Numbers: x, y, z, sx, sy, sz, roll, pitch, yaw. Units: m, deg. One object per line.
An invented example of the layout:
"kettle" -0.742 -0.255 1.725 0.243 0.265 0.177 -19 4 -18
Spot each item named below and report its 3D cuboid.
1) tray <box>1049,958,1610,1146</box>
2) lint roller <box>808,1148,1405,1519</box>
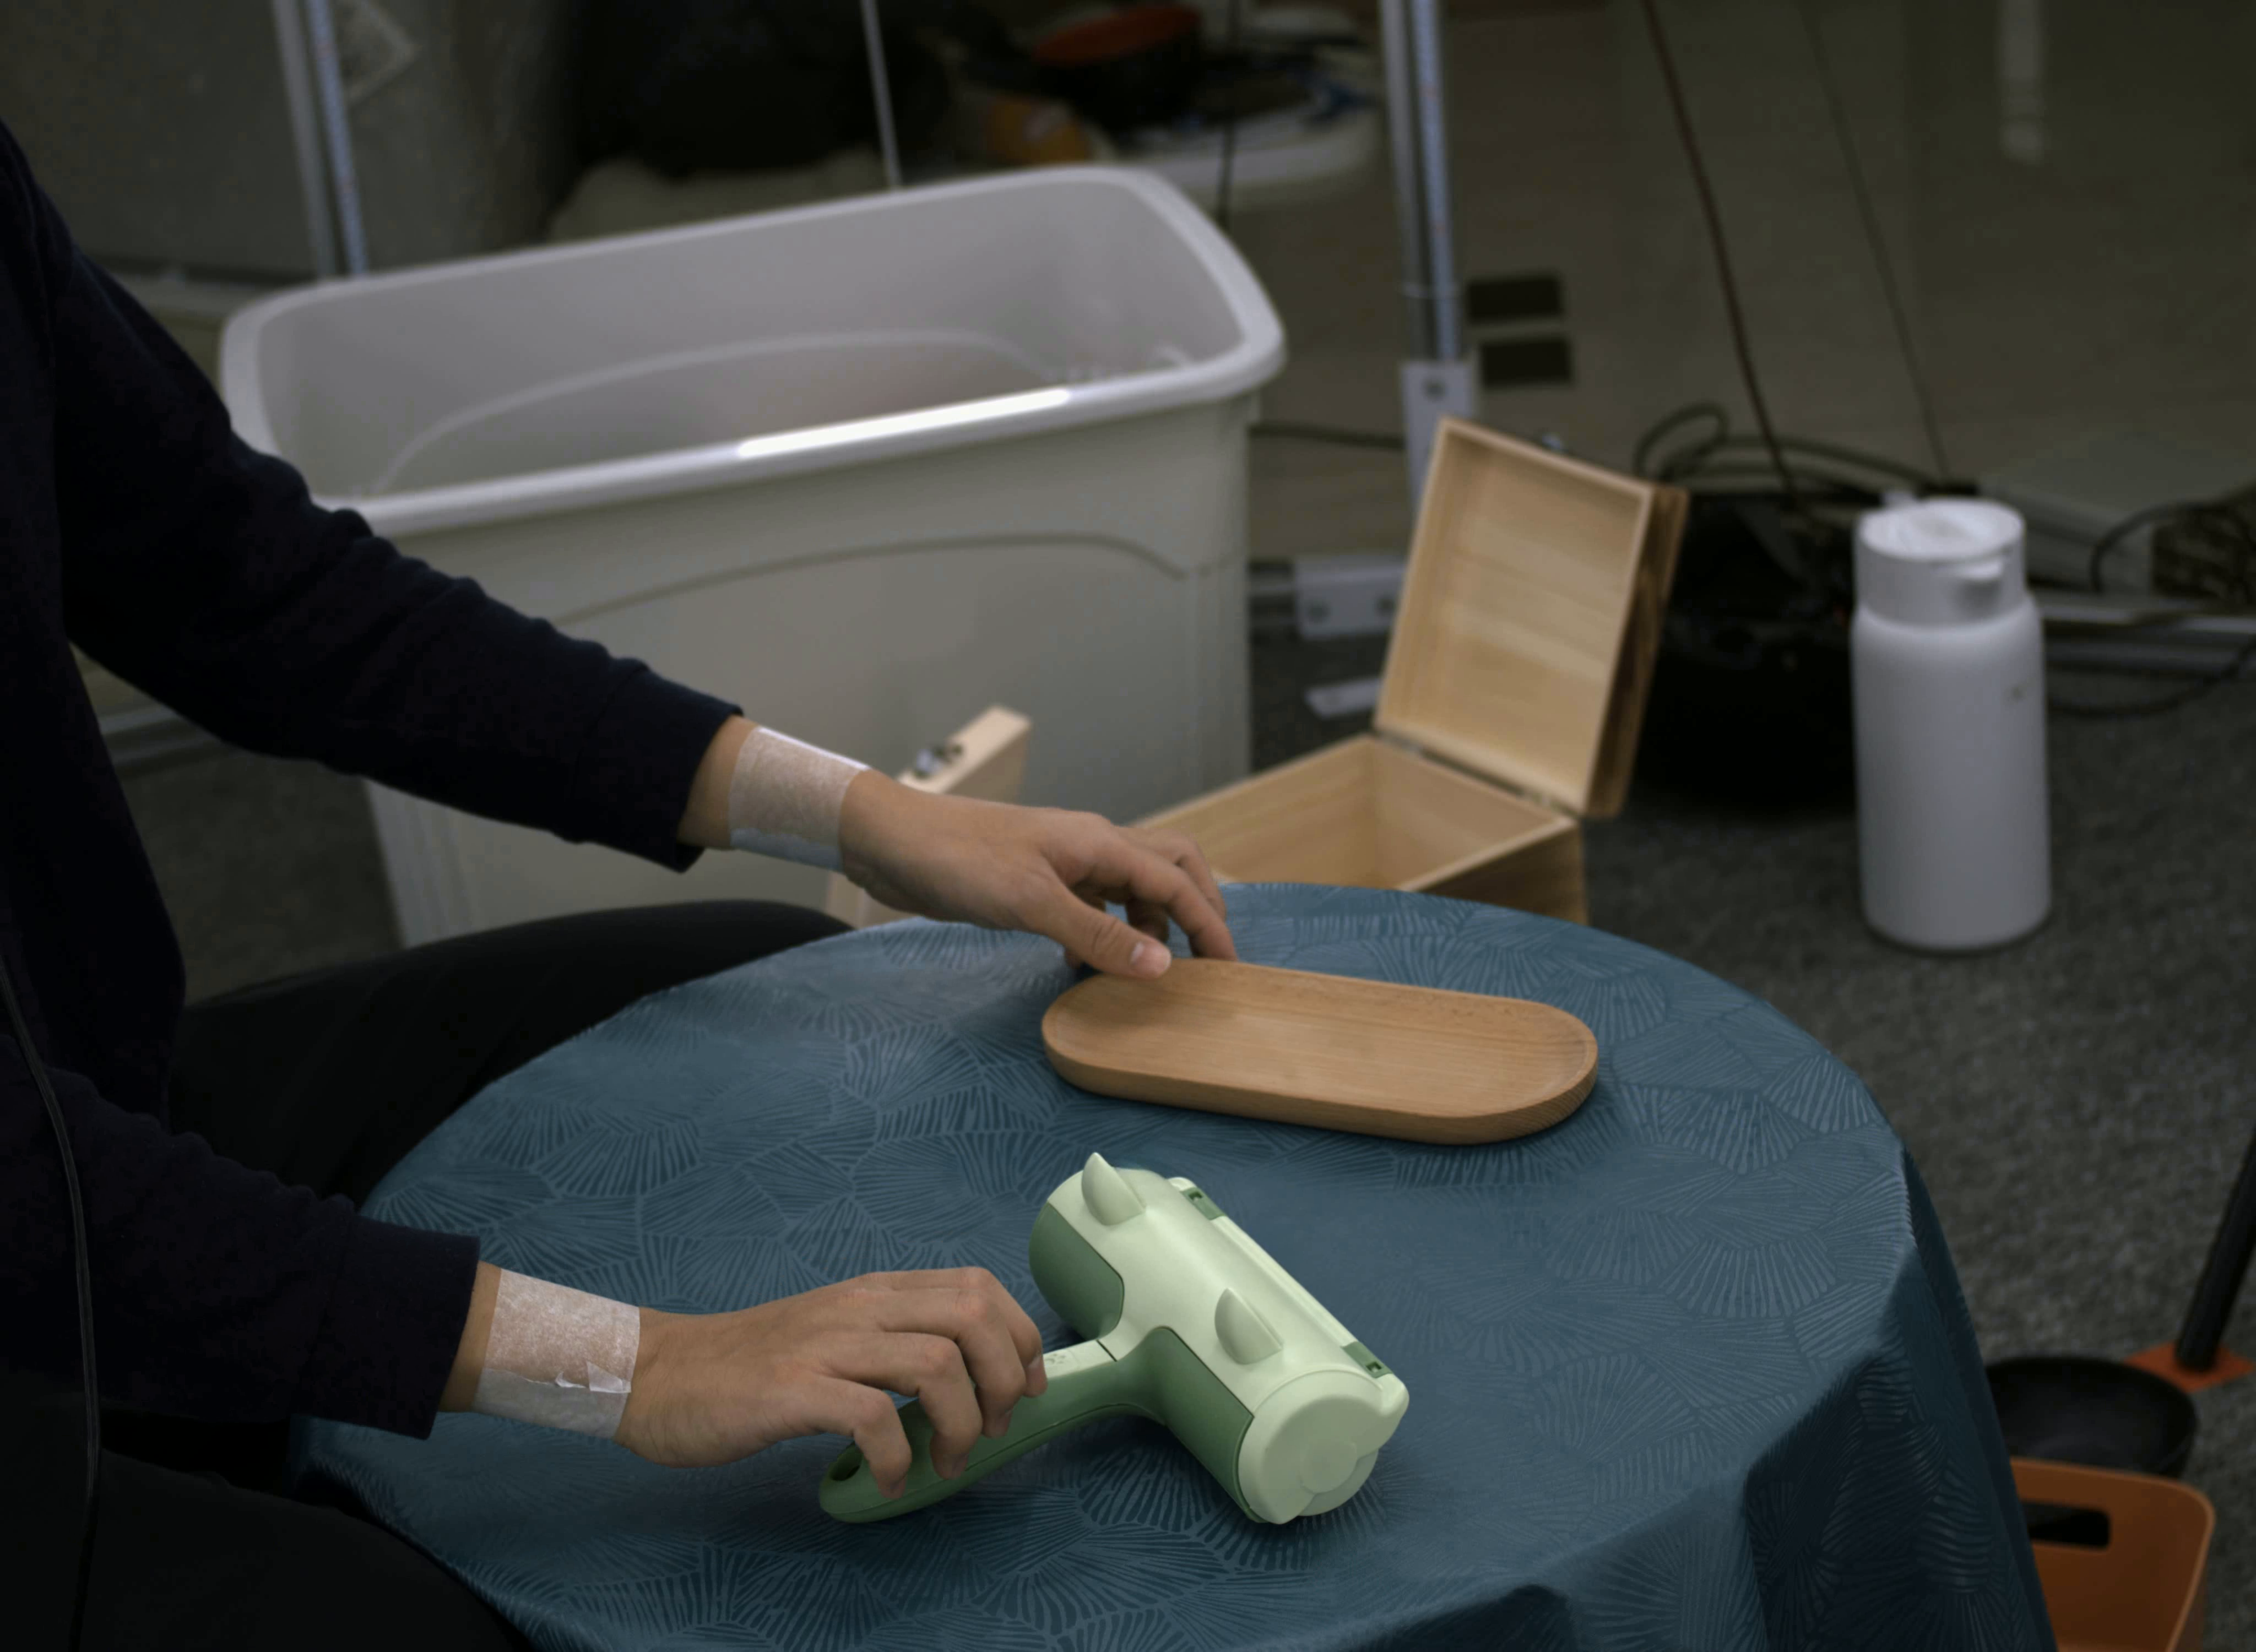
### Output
"tray" 0.077 0.088 2.217 0.230 0.020 0.100 8 30 25
"lint roller" -0.026 0.180 1.963 0.183 0.083 0.196 -11 24 -22
